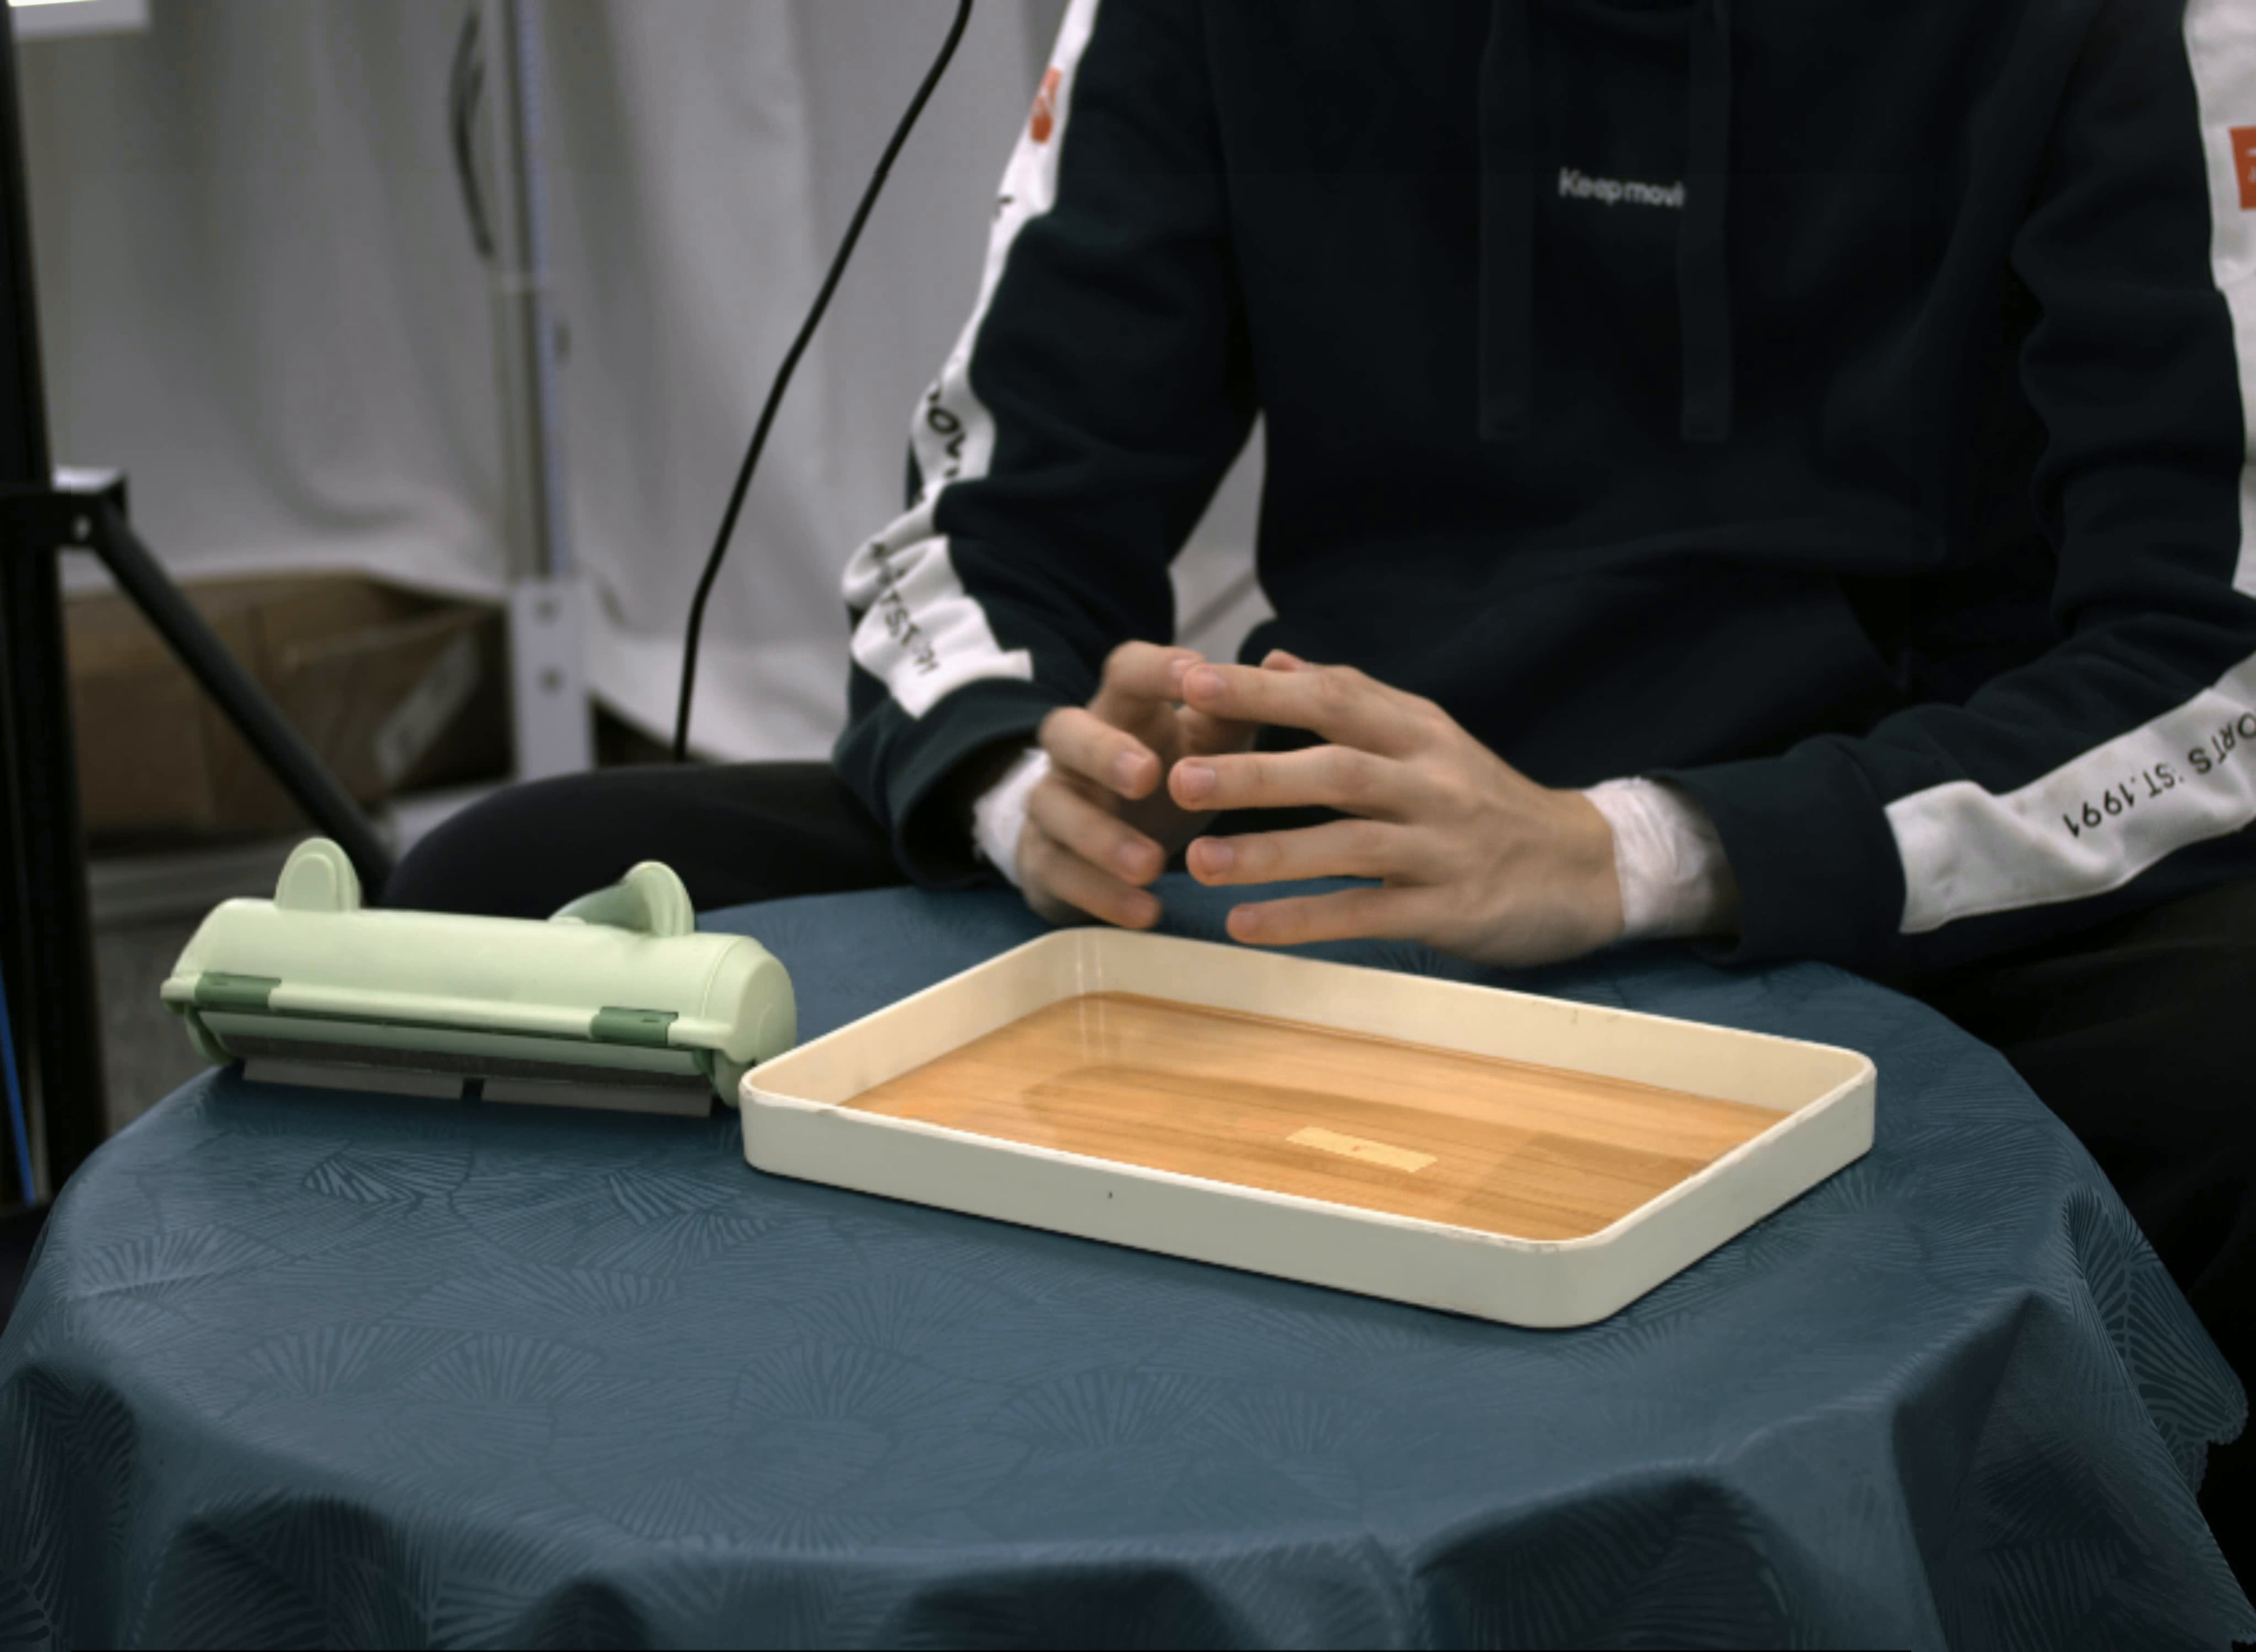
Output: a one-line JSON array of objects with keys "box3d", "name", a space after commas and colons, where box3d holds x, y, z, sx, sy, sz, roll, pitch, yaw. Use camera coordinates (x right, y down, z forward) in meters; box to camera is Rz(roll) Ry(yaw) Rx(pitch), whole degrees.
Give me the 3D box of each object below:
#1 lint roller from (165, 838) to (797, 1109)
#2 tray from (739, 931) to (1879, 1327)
[{"box3d": [-0.184, 0.030, 1.722, 0.201, 0.082, 0.181, 3, 21, 21], "name": "lint roller"}, {"box3d": [0.053, 0.086, 1.578, 0.306, 0.027, 0.187, 9, 19, 35], "name": "tray"}]
